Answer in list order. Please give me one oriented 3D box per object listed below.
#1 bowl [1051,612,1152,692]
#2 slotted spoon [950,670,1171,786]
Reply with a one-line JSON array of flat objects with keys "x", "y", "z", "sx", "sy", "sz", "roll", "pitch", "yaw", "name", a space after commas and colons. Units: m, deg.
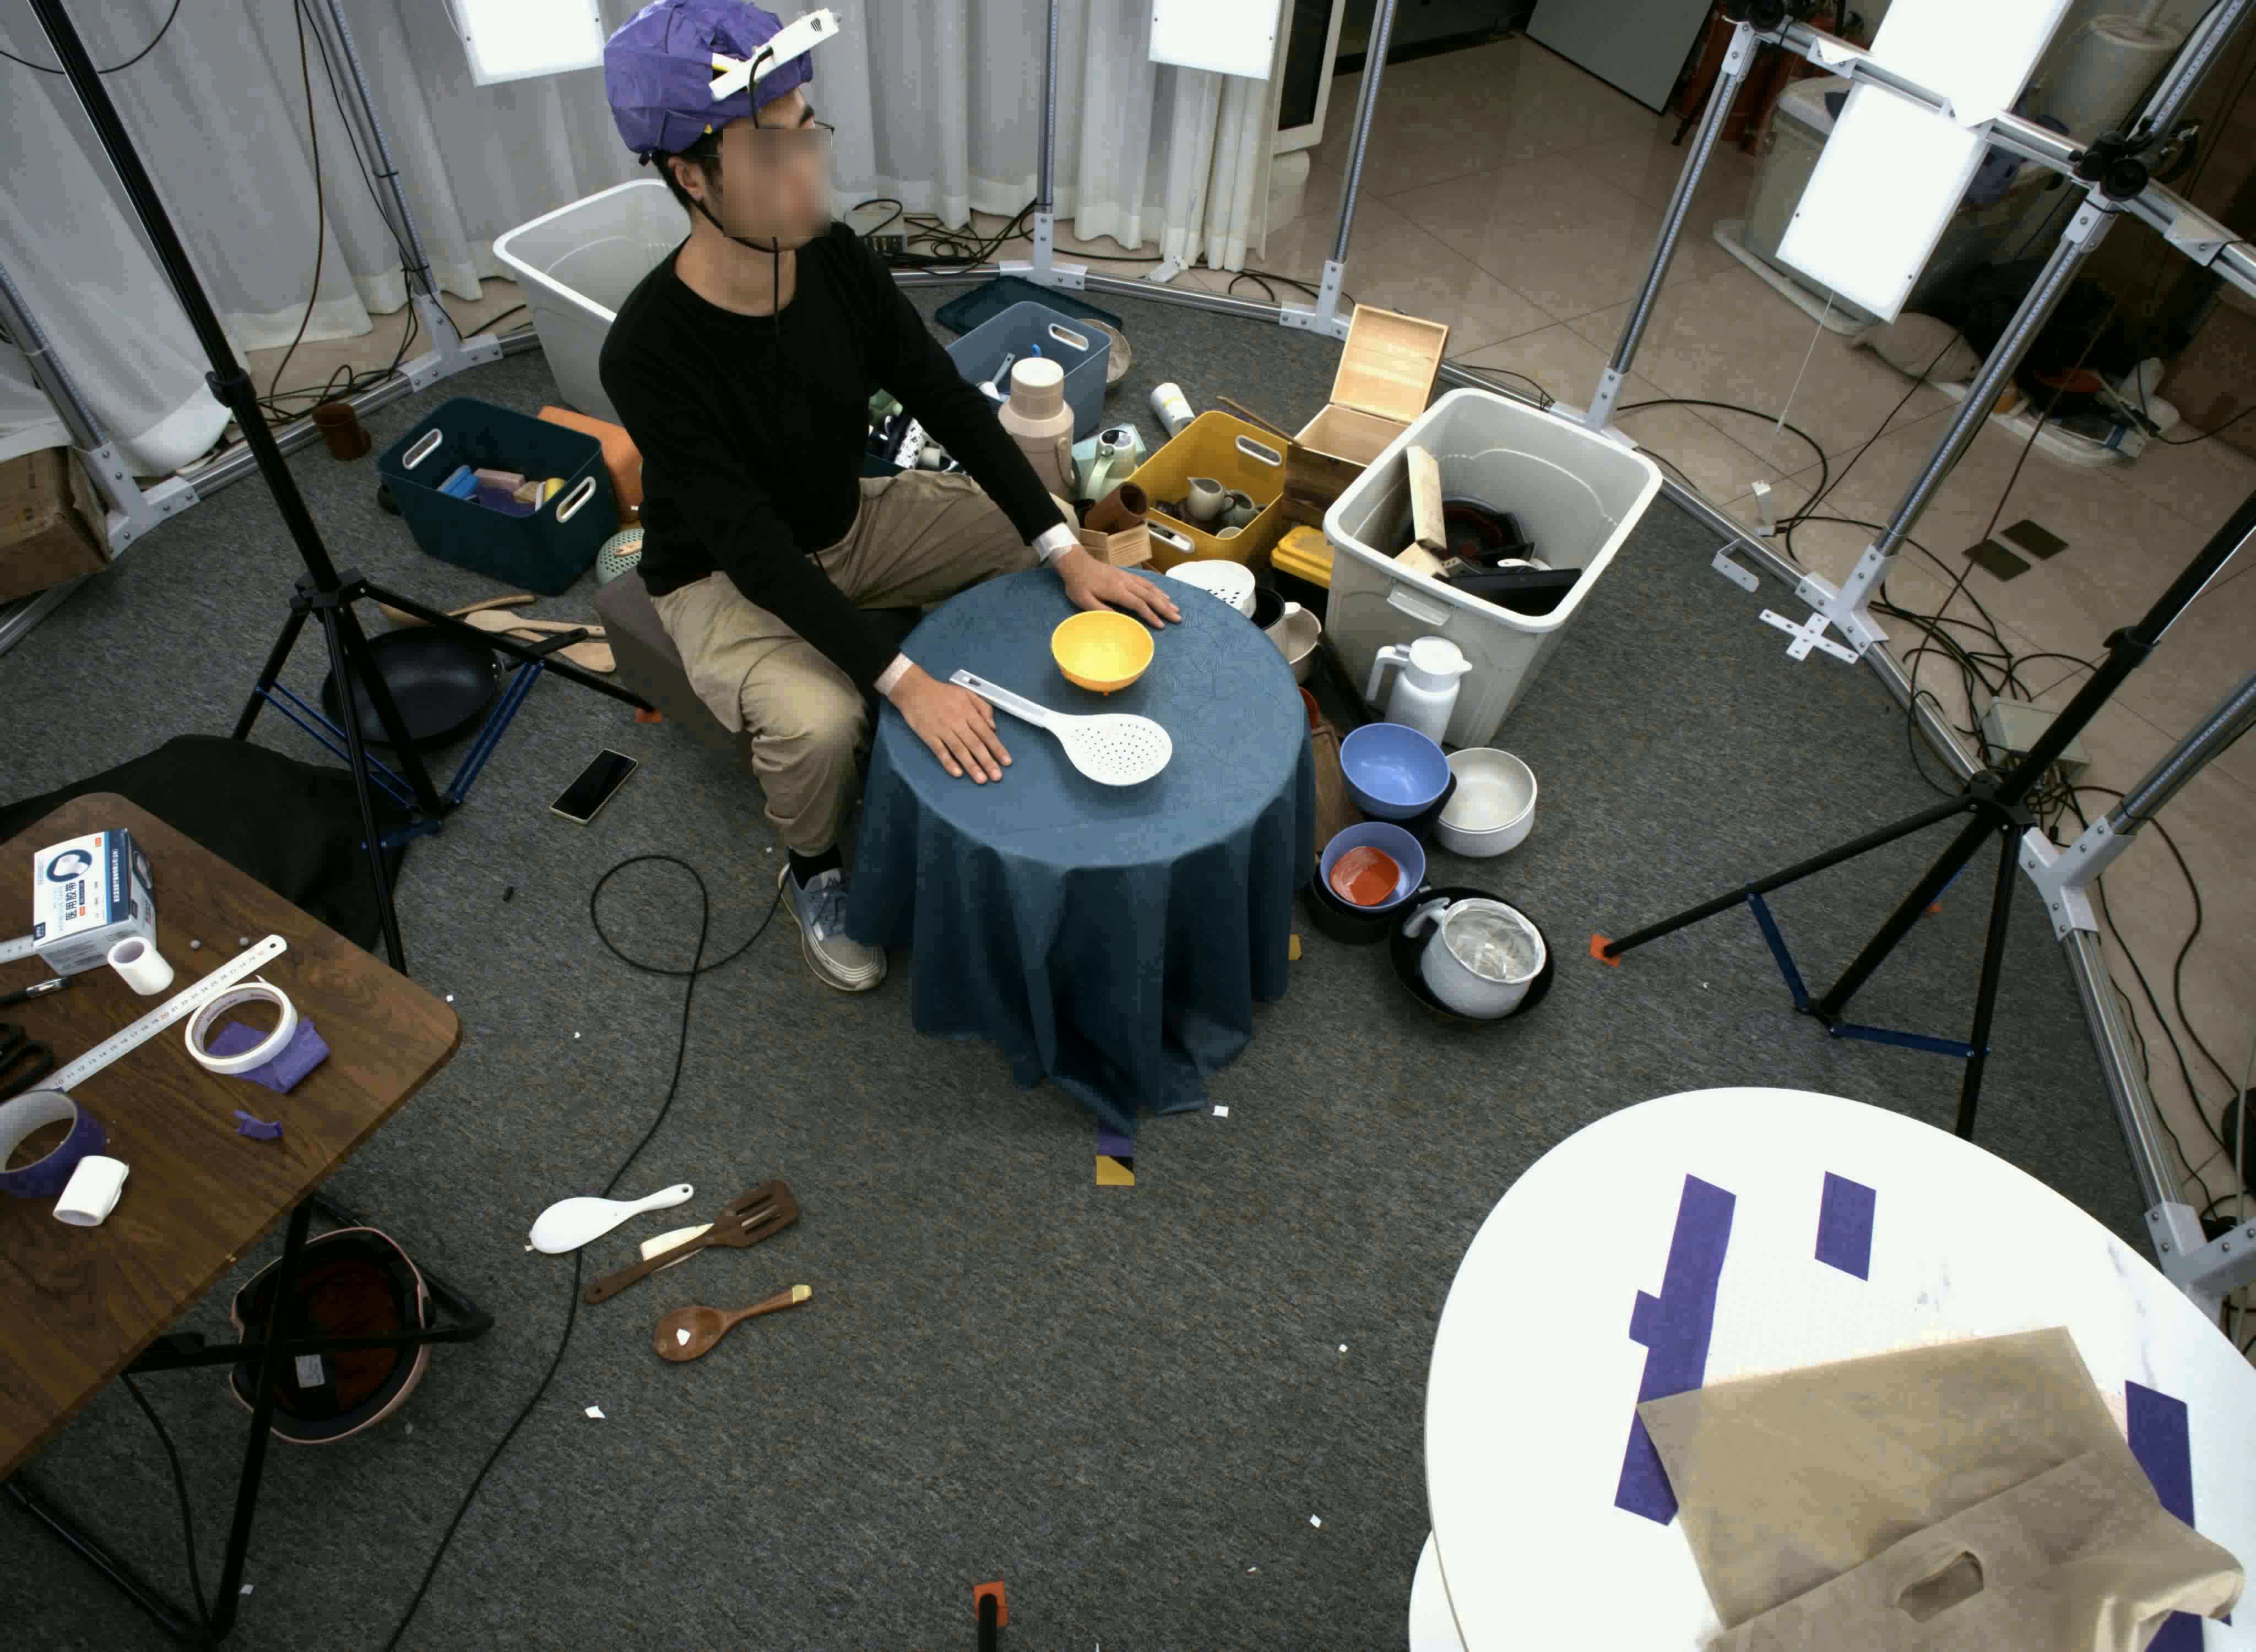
[{"x": -0.040, "y": -0.237, "z": 1.837, "sx": 0.145, "sy": 0.058, "sz": 0.149, "roll": 3, "pitch": 49, "yaw": -4, "name": "bowl"}, {"x": -0.101, "y": -0.142, "z": 1.756, "sx": 0.353, "sy": 0.044, "sz": 0.138, "roll": 28, "pitch": 52, "yaw": 20, "name": "slotted spoon"}]
